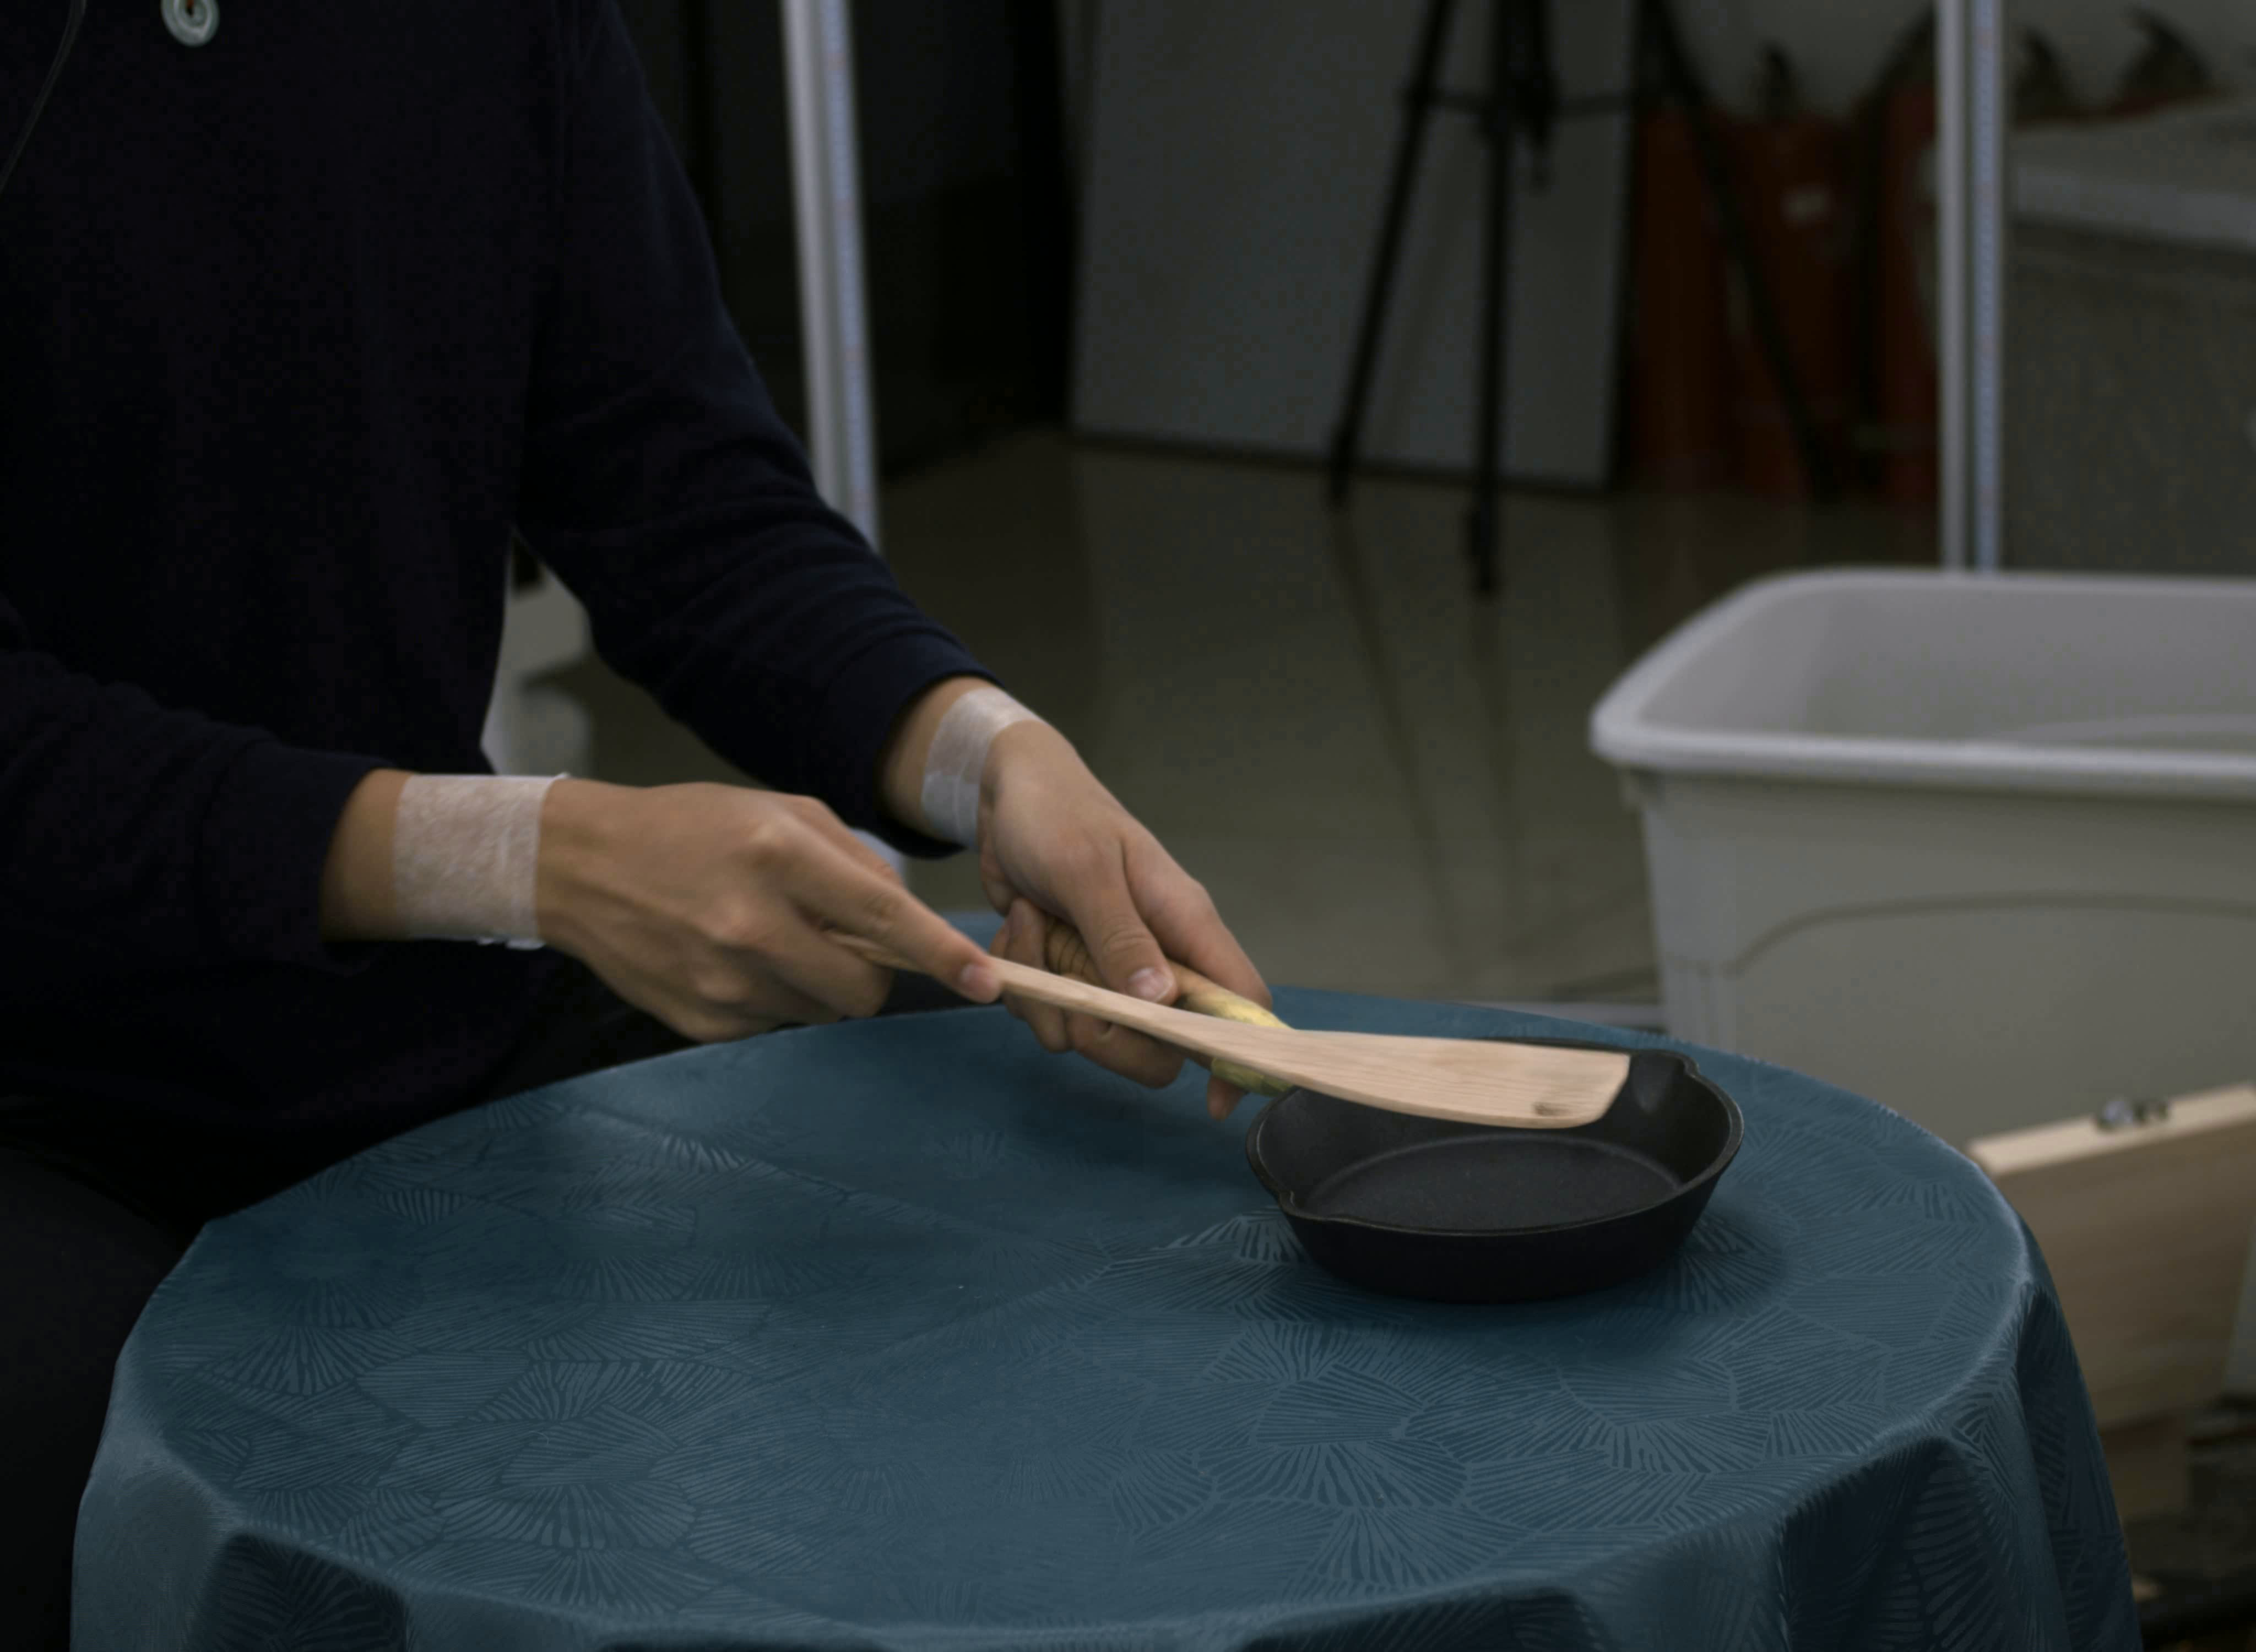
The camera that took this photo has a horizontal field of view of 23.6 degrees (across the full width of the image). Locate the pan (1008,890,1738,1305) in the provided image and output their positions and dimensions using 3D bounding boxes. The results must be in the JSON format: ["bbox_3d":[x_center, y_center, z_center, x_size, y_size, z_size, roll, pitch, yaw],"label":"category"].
[{"bbox_3d":[0.064,0.083,1.755,0.165,0.050,0.328,-18,24,-33],"label":"pan"}]

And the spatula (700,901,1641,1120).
[{"bbox_3d":[0.010,0.055,1.702,0.328,0.017,0.079,12,14,23],"label":"spatula"}]
